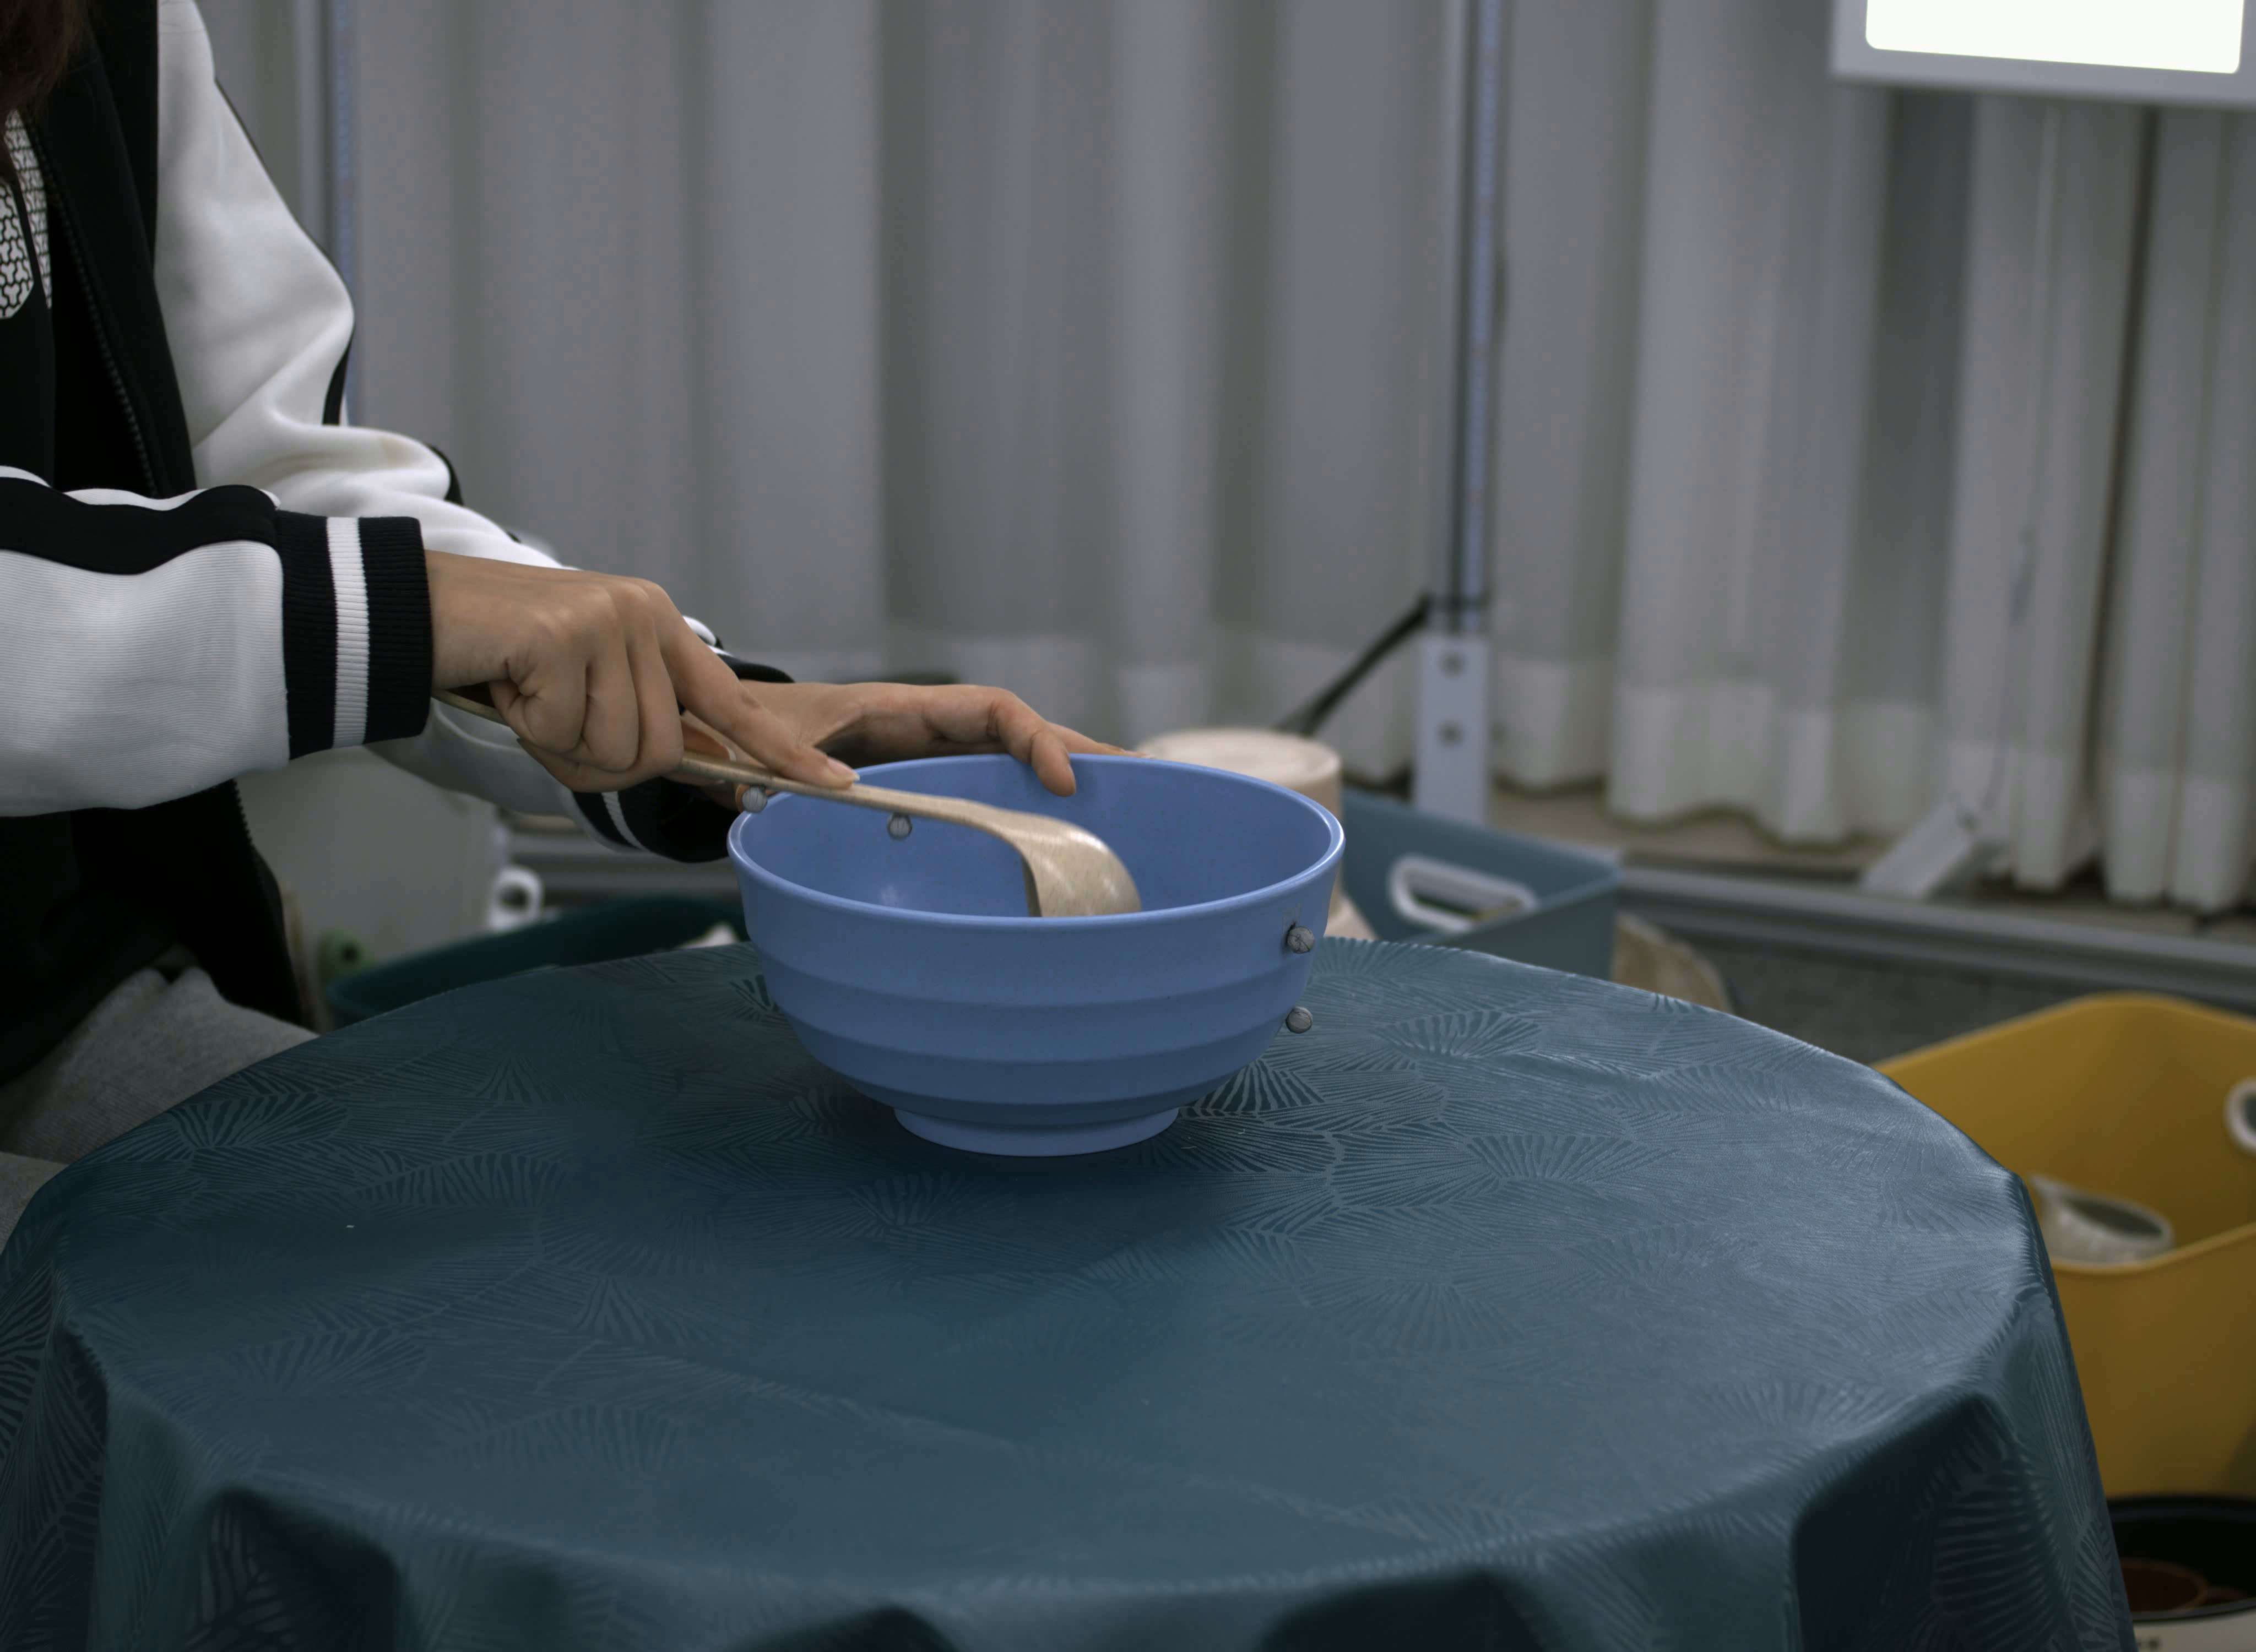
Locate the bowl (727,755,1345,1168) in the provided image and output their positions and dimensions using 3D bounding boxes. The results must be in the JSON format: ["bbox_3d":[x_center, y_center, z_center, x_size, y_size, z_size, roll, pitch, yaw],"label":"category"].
[{"bbox_3d":[-0.028,0.049,1.681,0.196,0.096,0.195,0,17,1],"label":"bowl"}]

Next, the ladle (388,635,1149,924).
[{"bbox_3d":[-0.119,0.007,1.662,0.255,0.073,0.071,15,16,-11],"label":"ladle"}]
